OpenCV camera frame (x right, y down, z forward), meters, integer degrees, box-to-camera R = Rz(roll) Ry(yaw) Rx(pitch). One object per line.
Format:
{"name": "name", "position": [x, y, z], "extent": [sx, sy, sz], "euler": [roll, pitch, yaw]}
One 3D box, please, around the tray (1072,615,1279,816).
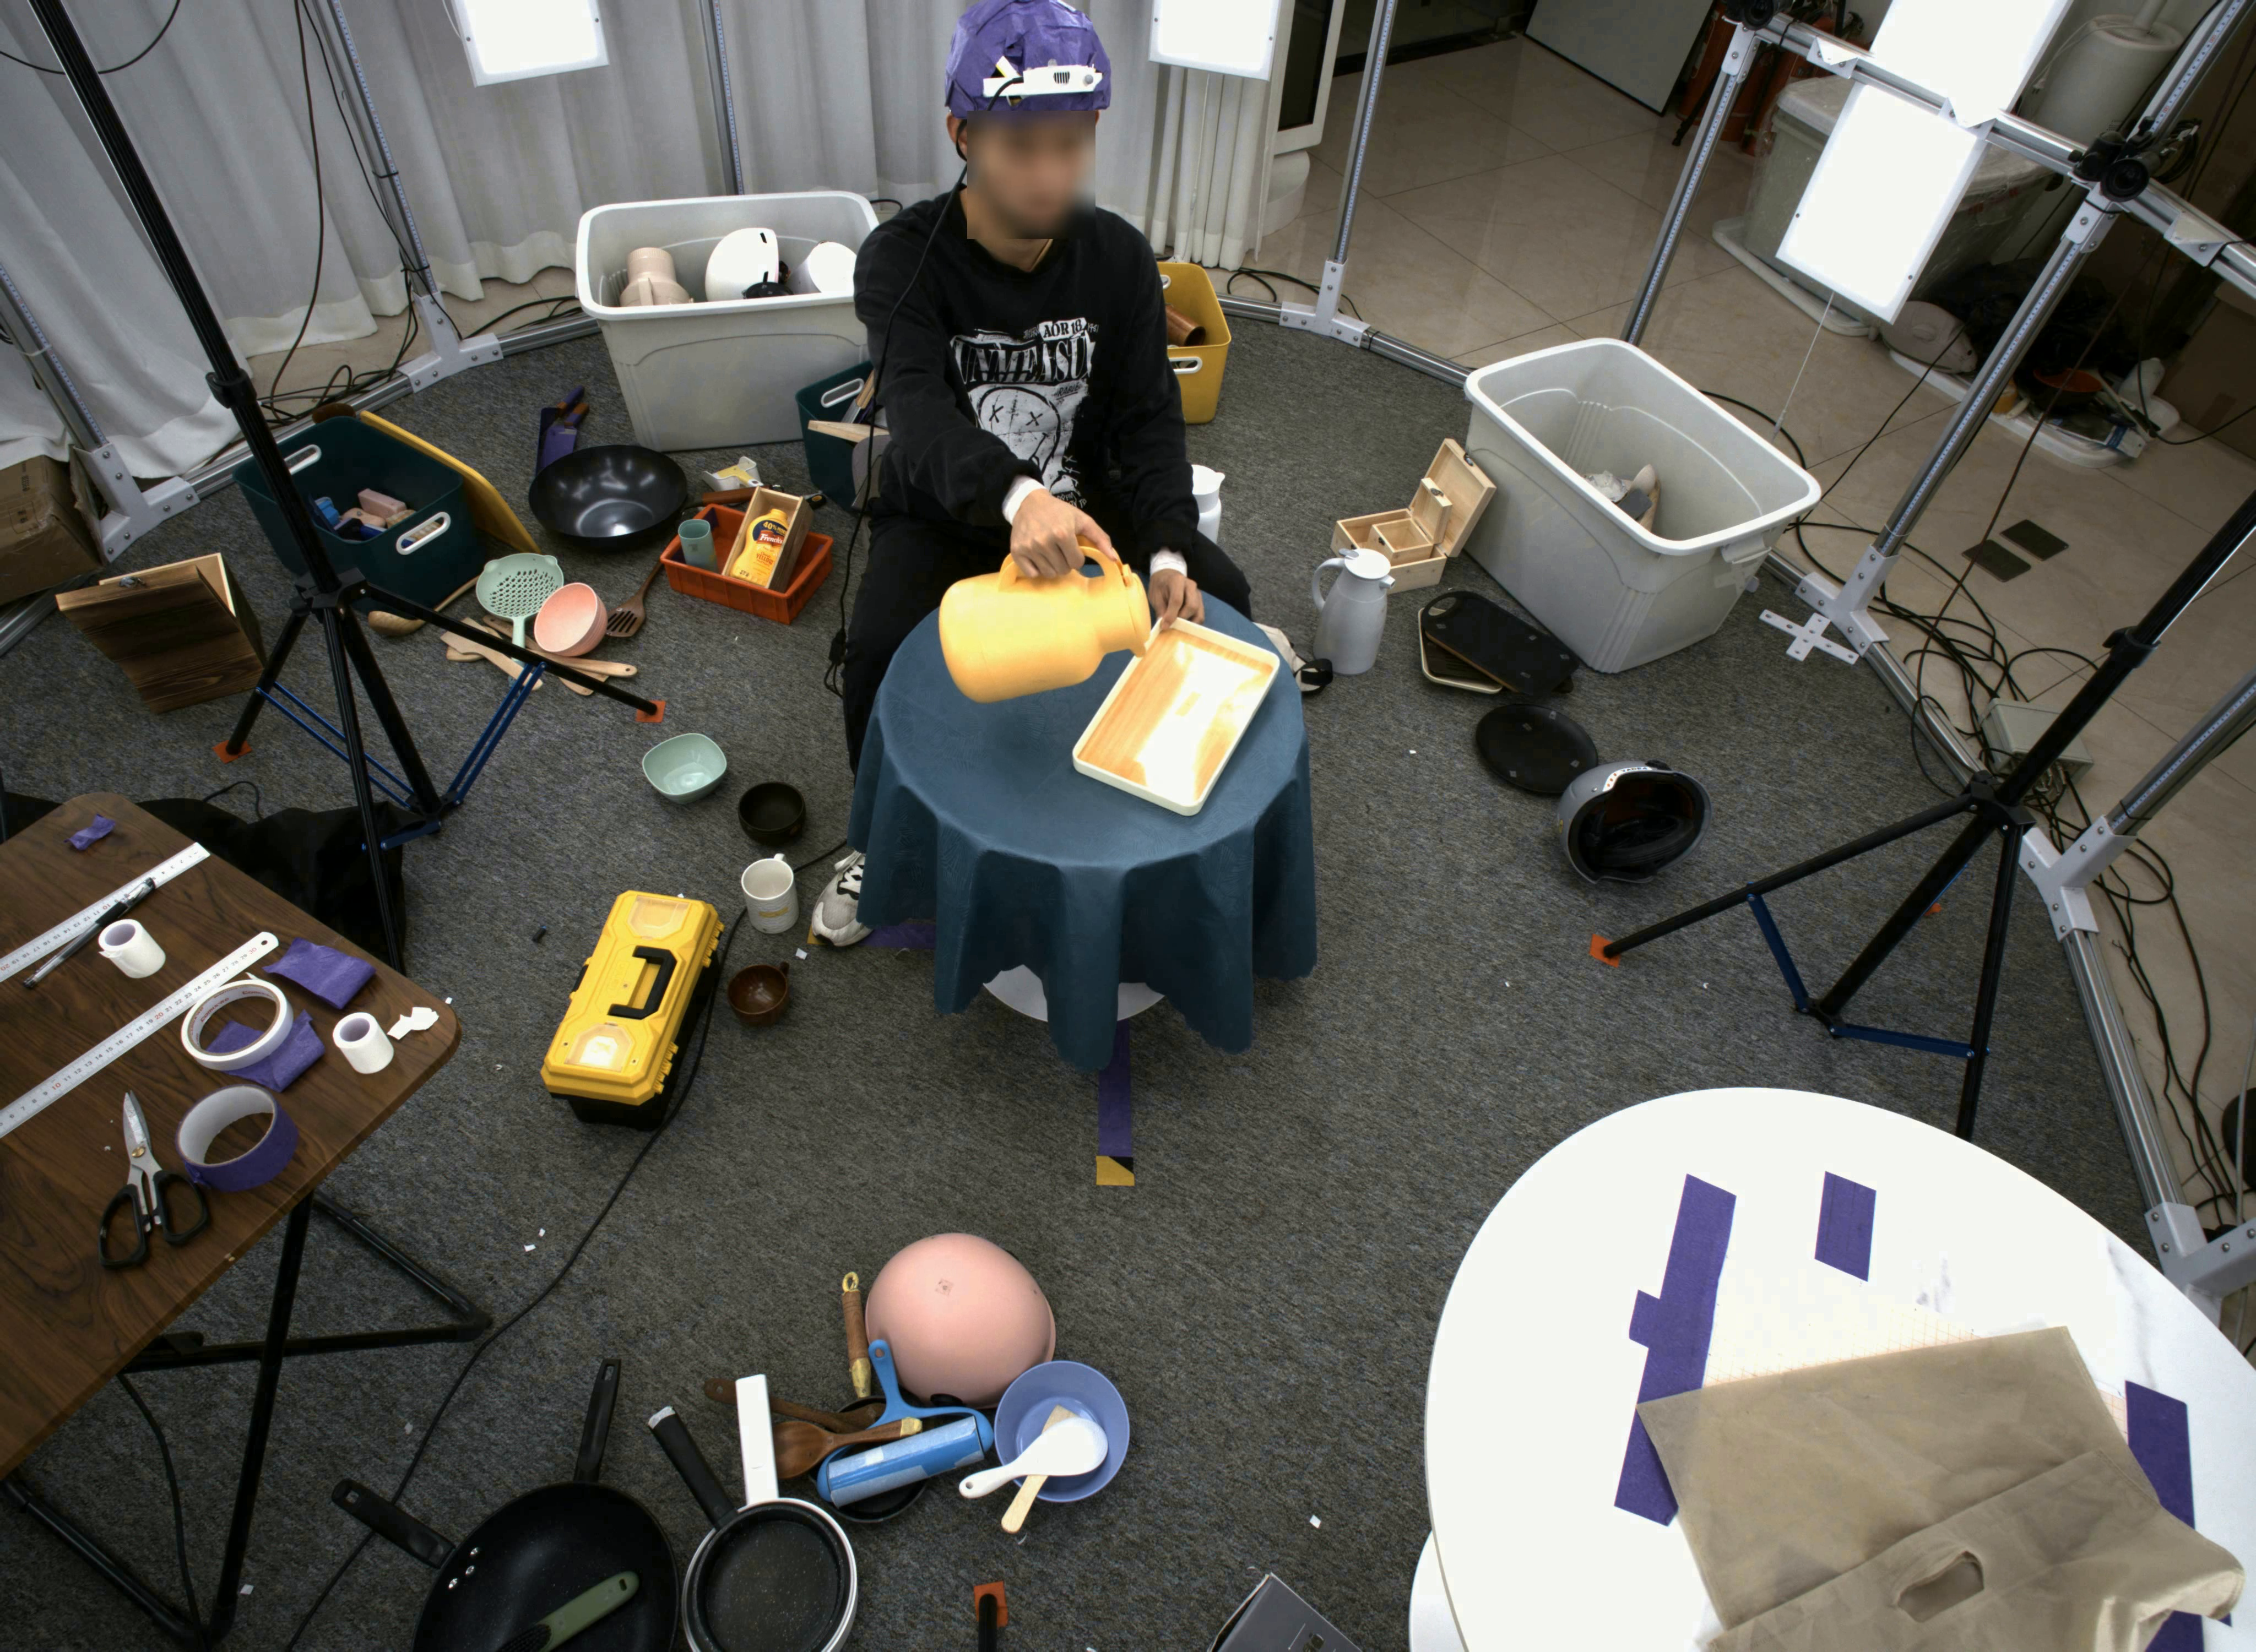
{"name": "tray", "position": [0.069, -0.159, 1.776], "extent": [0.193, 0.027, 0.305], "euler": [23, 57, 15]}

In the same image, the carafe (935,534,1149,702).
{"name": "carafe", "position": [-0.109, -0.269, 1.630], "extent": [0.260, 0.197, 0.167], "euler": [-10, 43, 10]}
